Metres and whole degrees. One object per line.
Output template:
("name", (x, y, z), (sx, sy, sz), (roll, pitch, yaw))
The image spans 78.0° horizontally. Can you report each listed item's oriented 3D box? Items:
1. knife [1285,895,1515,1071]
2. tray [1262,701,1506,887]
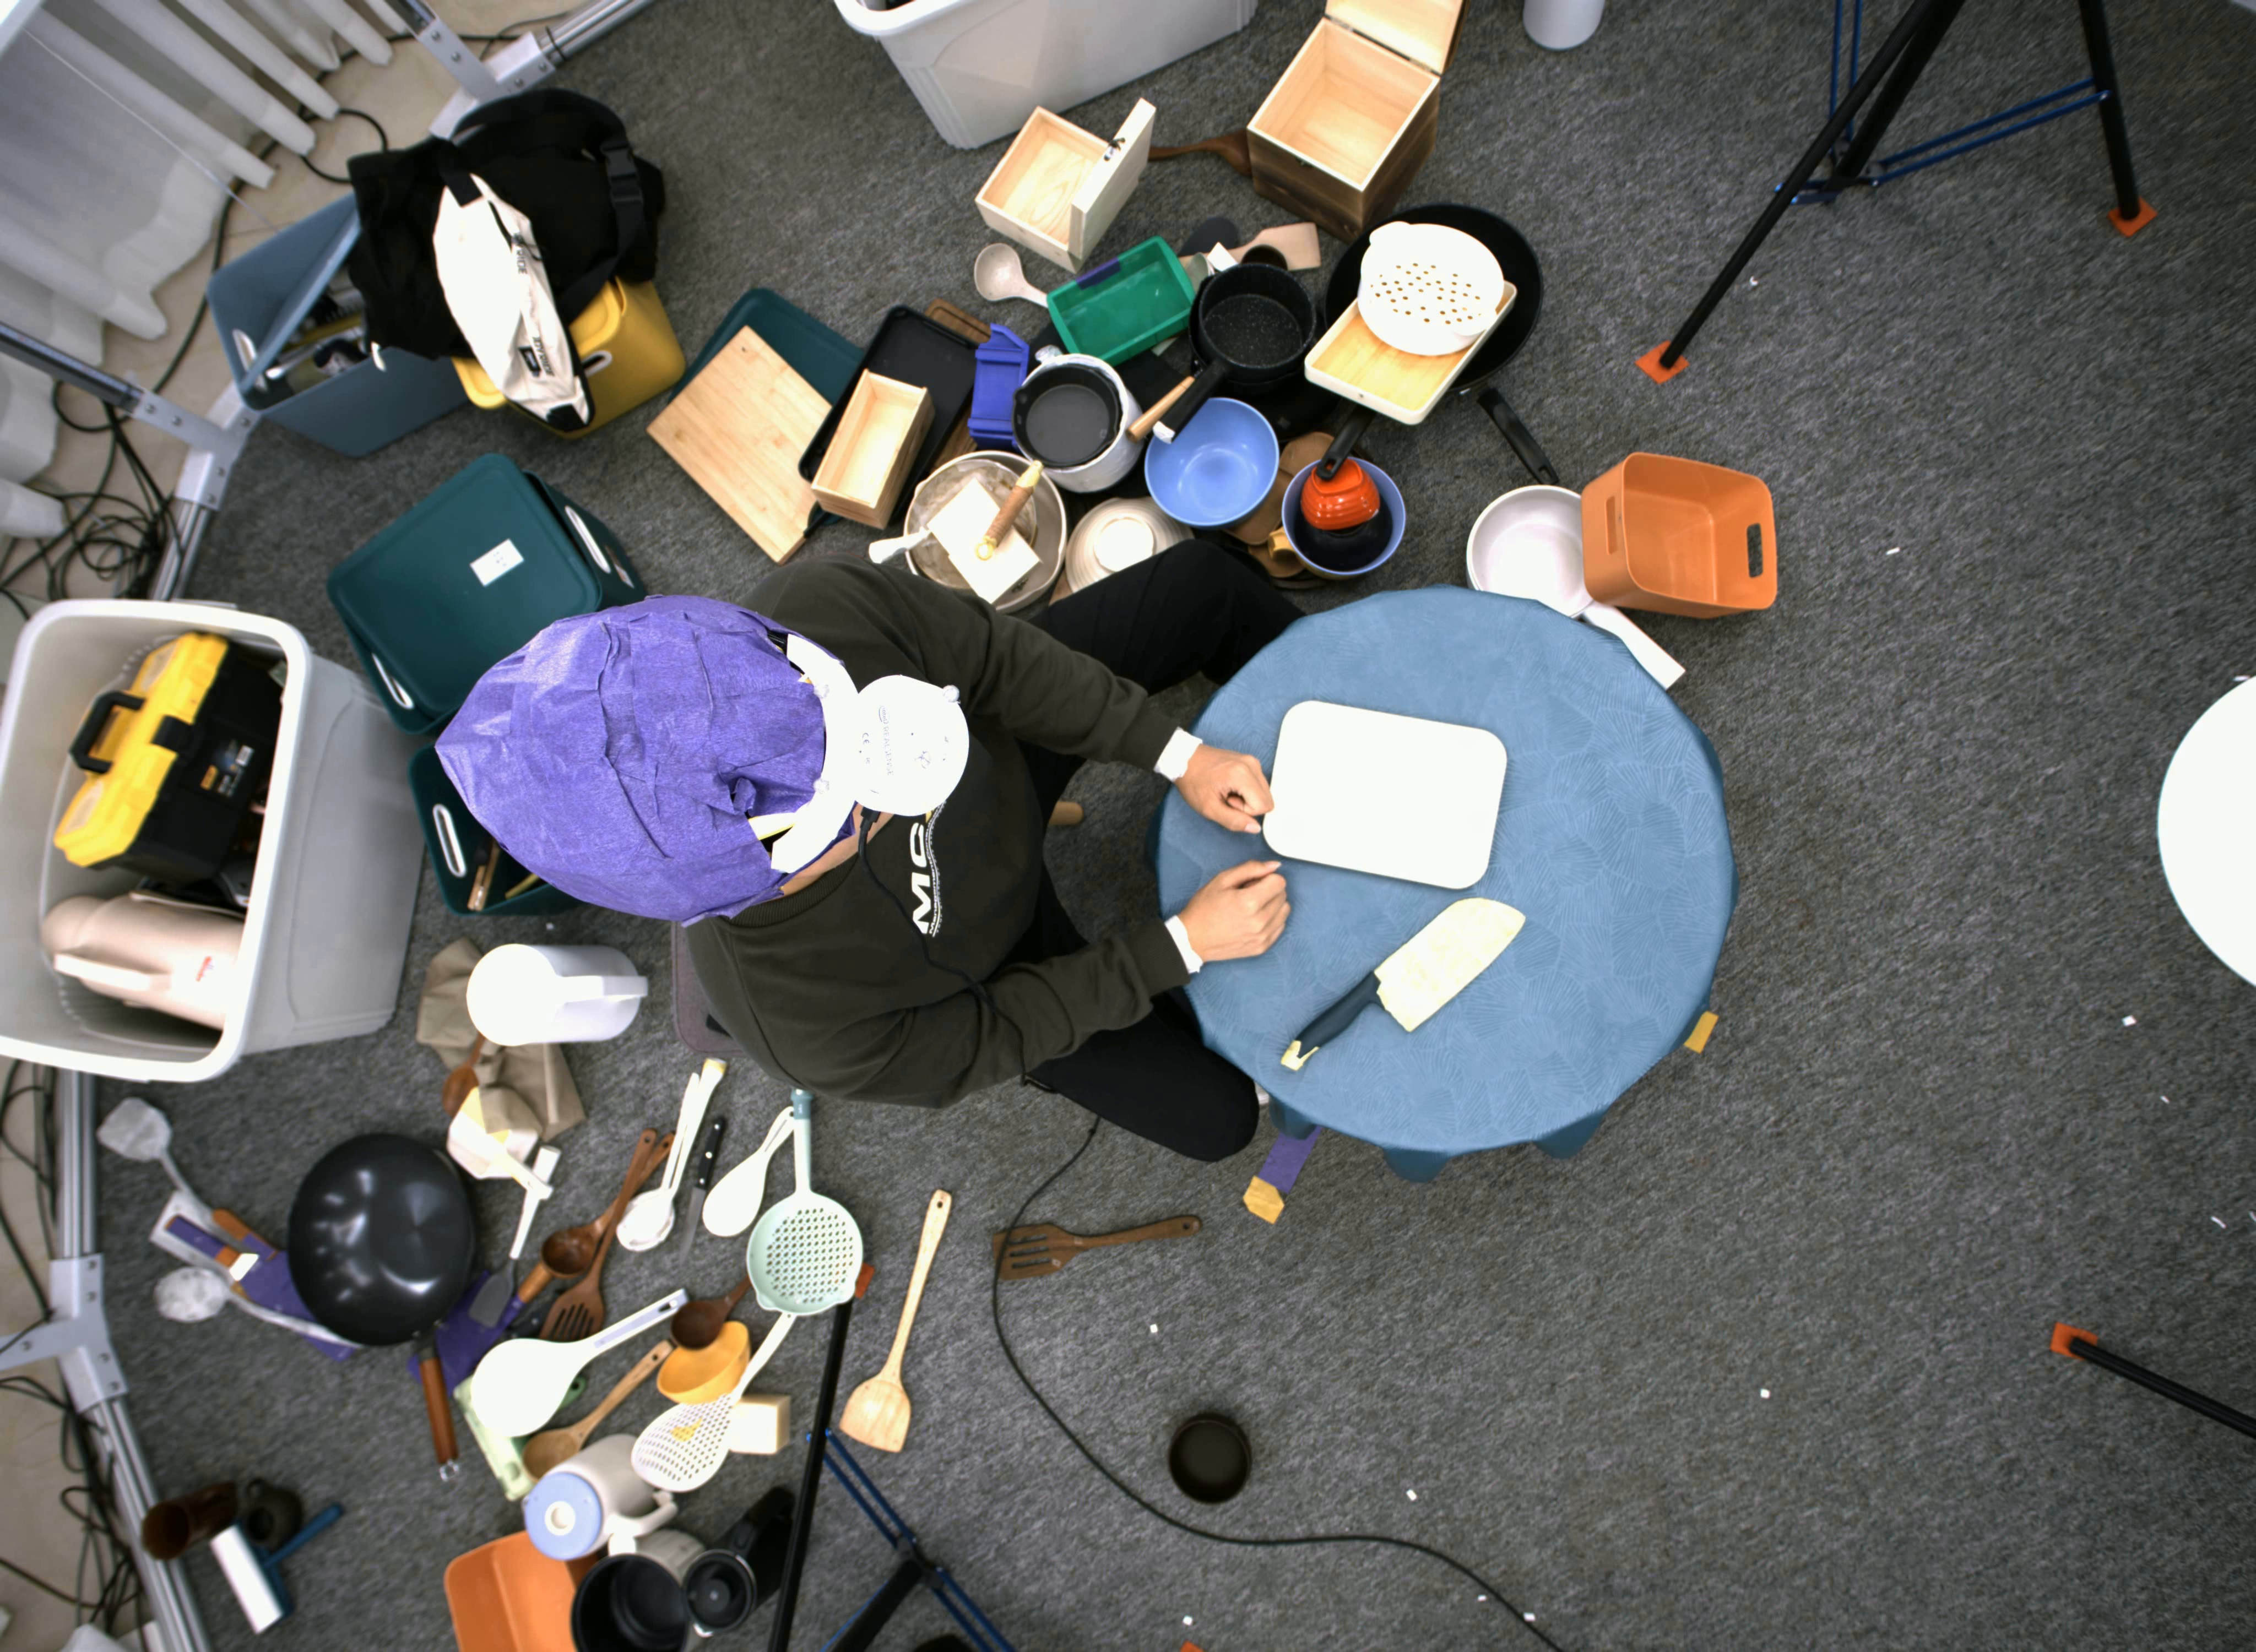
("knife", (0.287, 0.170, 1.444), (0.291, 0.027, 0.080), (-38, 79, 6))
("tray", (0.270, -0.036, 1.457), (0.240, 0.017, 0.171), (11, 89, 11))
